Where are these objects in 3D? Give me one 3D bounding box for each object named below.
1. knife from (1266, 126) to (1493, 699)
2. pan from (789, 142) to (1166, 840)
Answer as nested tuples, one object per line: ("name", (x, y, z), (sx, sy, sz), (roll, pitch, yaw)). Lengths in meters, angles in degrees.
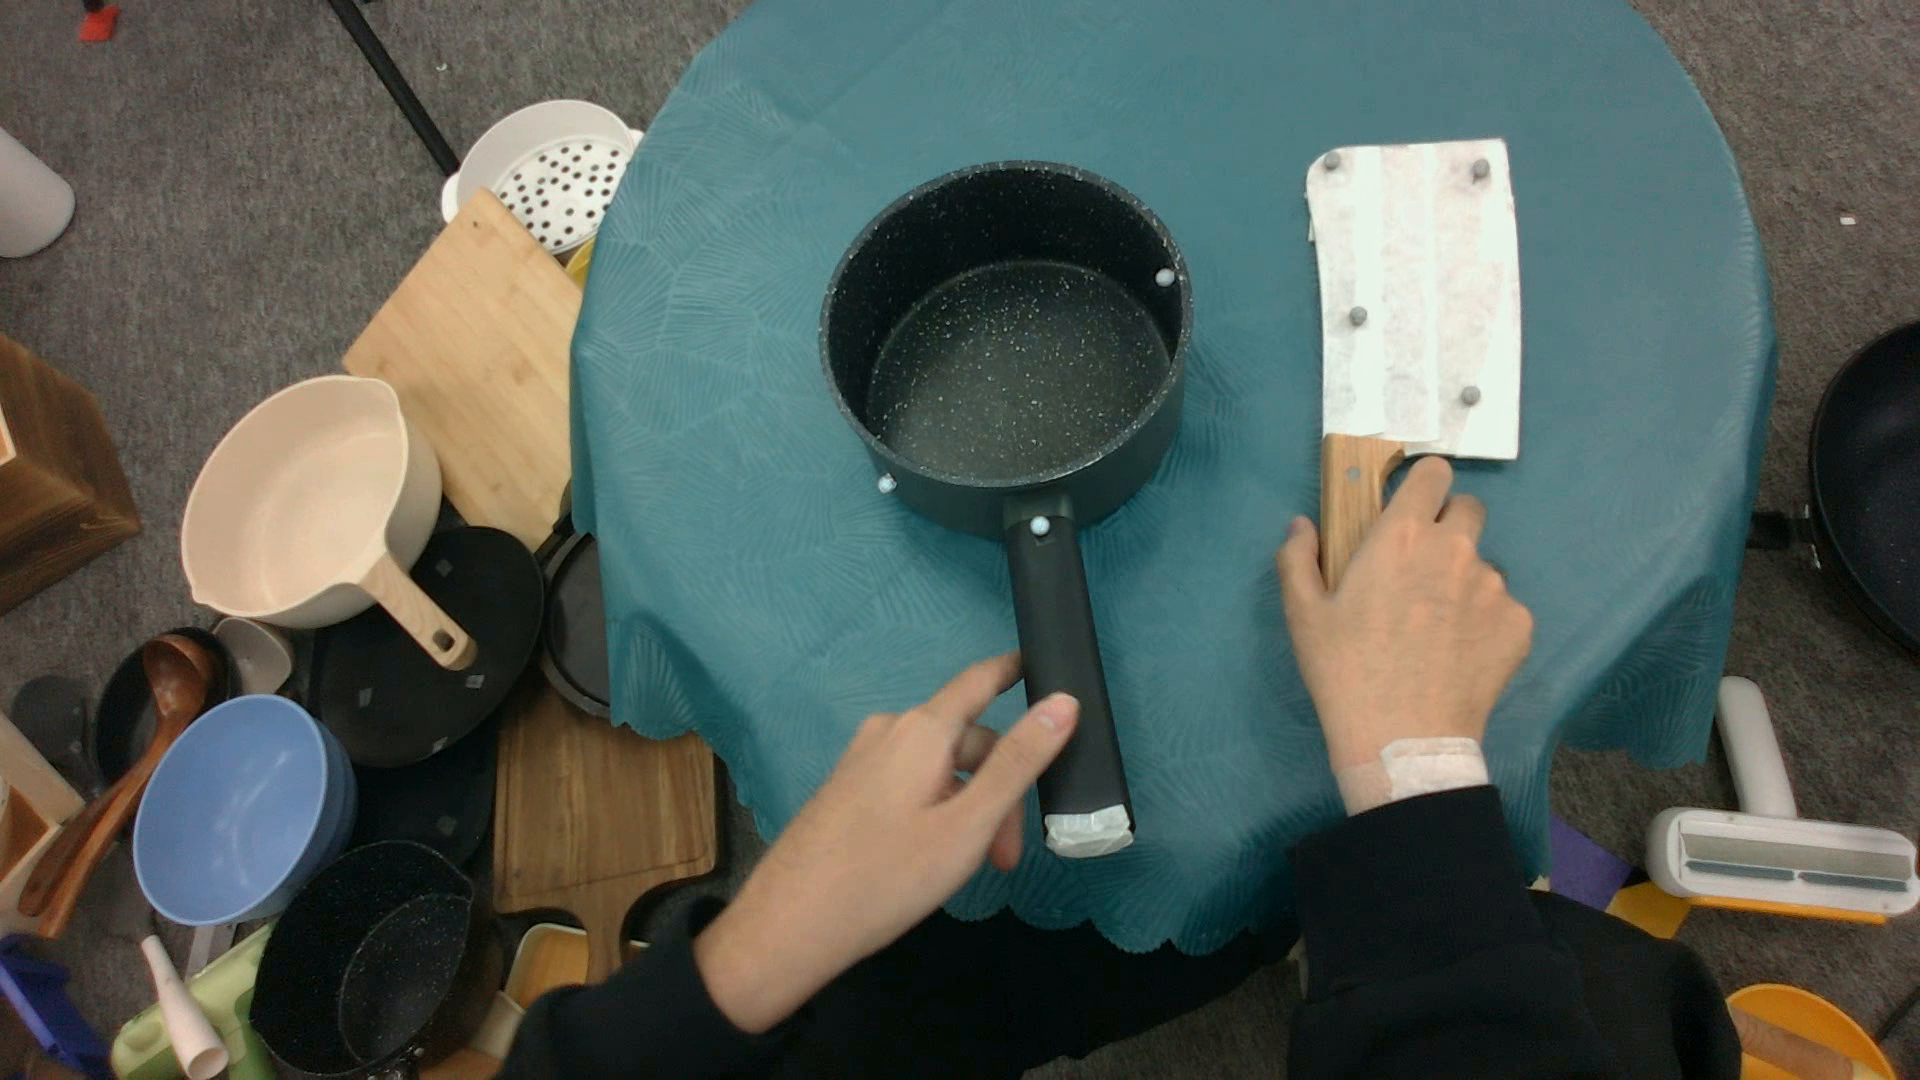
("knife", (0.193, -0.075, 0.653), (0.114, 0.021, 0.316), (6, 65, 10))
("pan", (0.020, -0.024, 0.619), (0.172, 0.086, 0.330), (-9, 65, 6))
